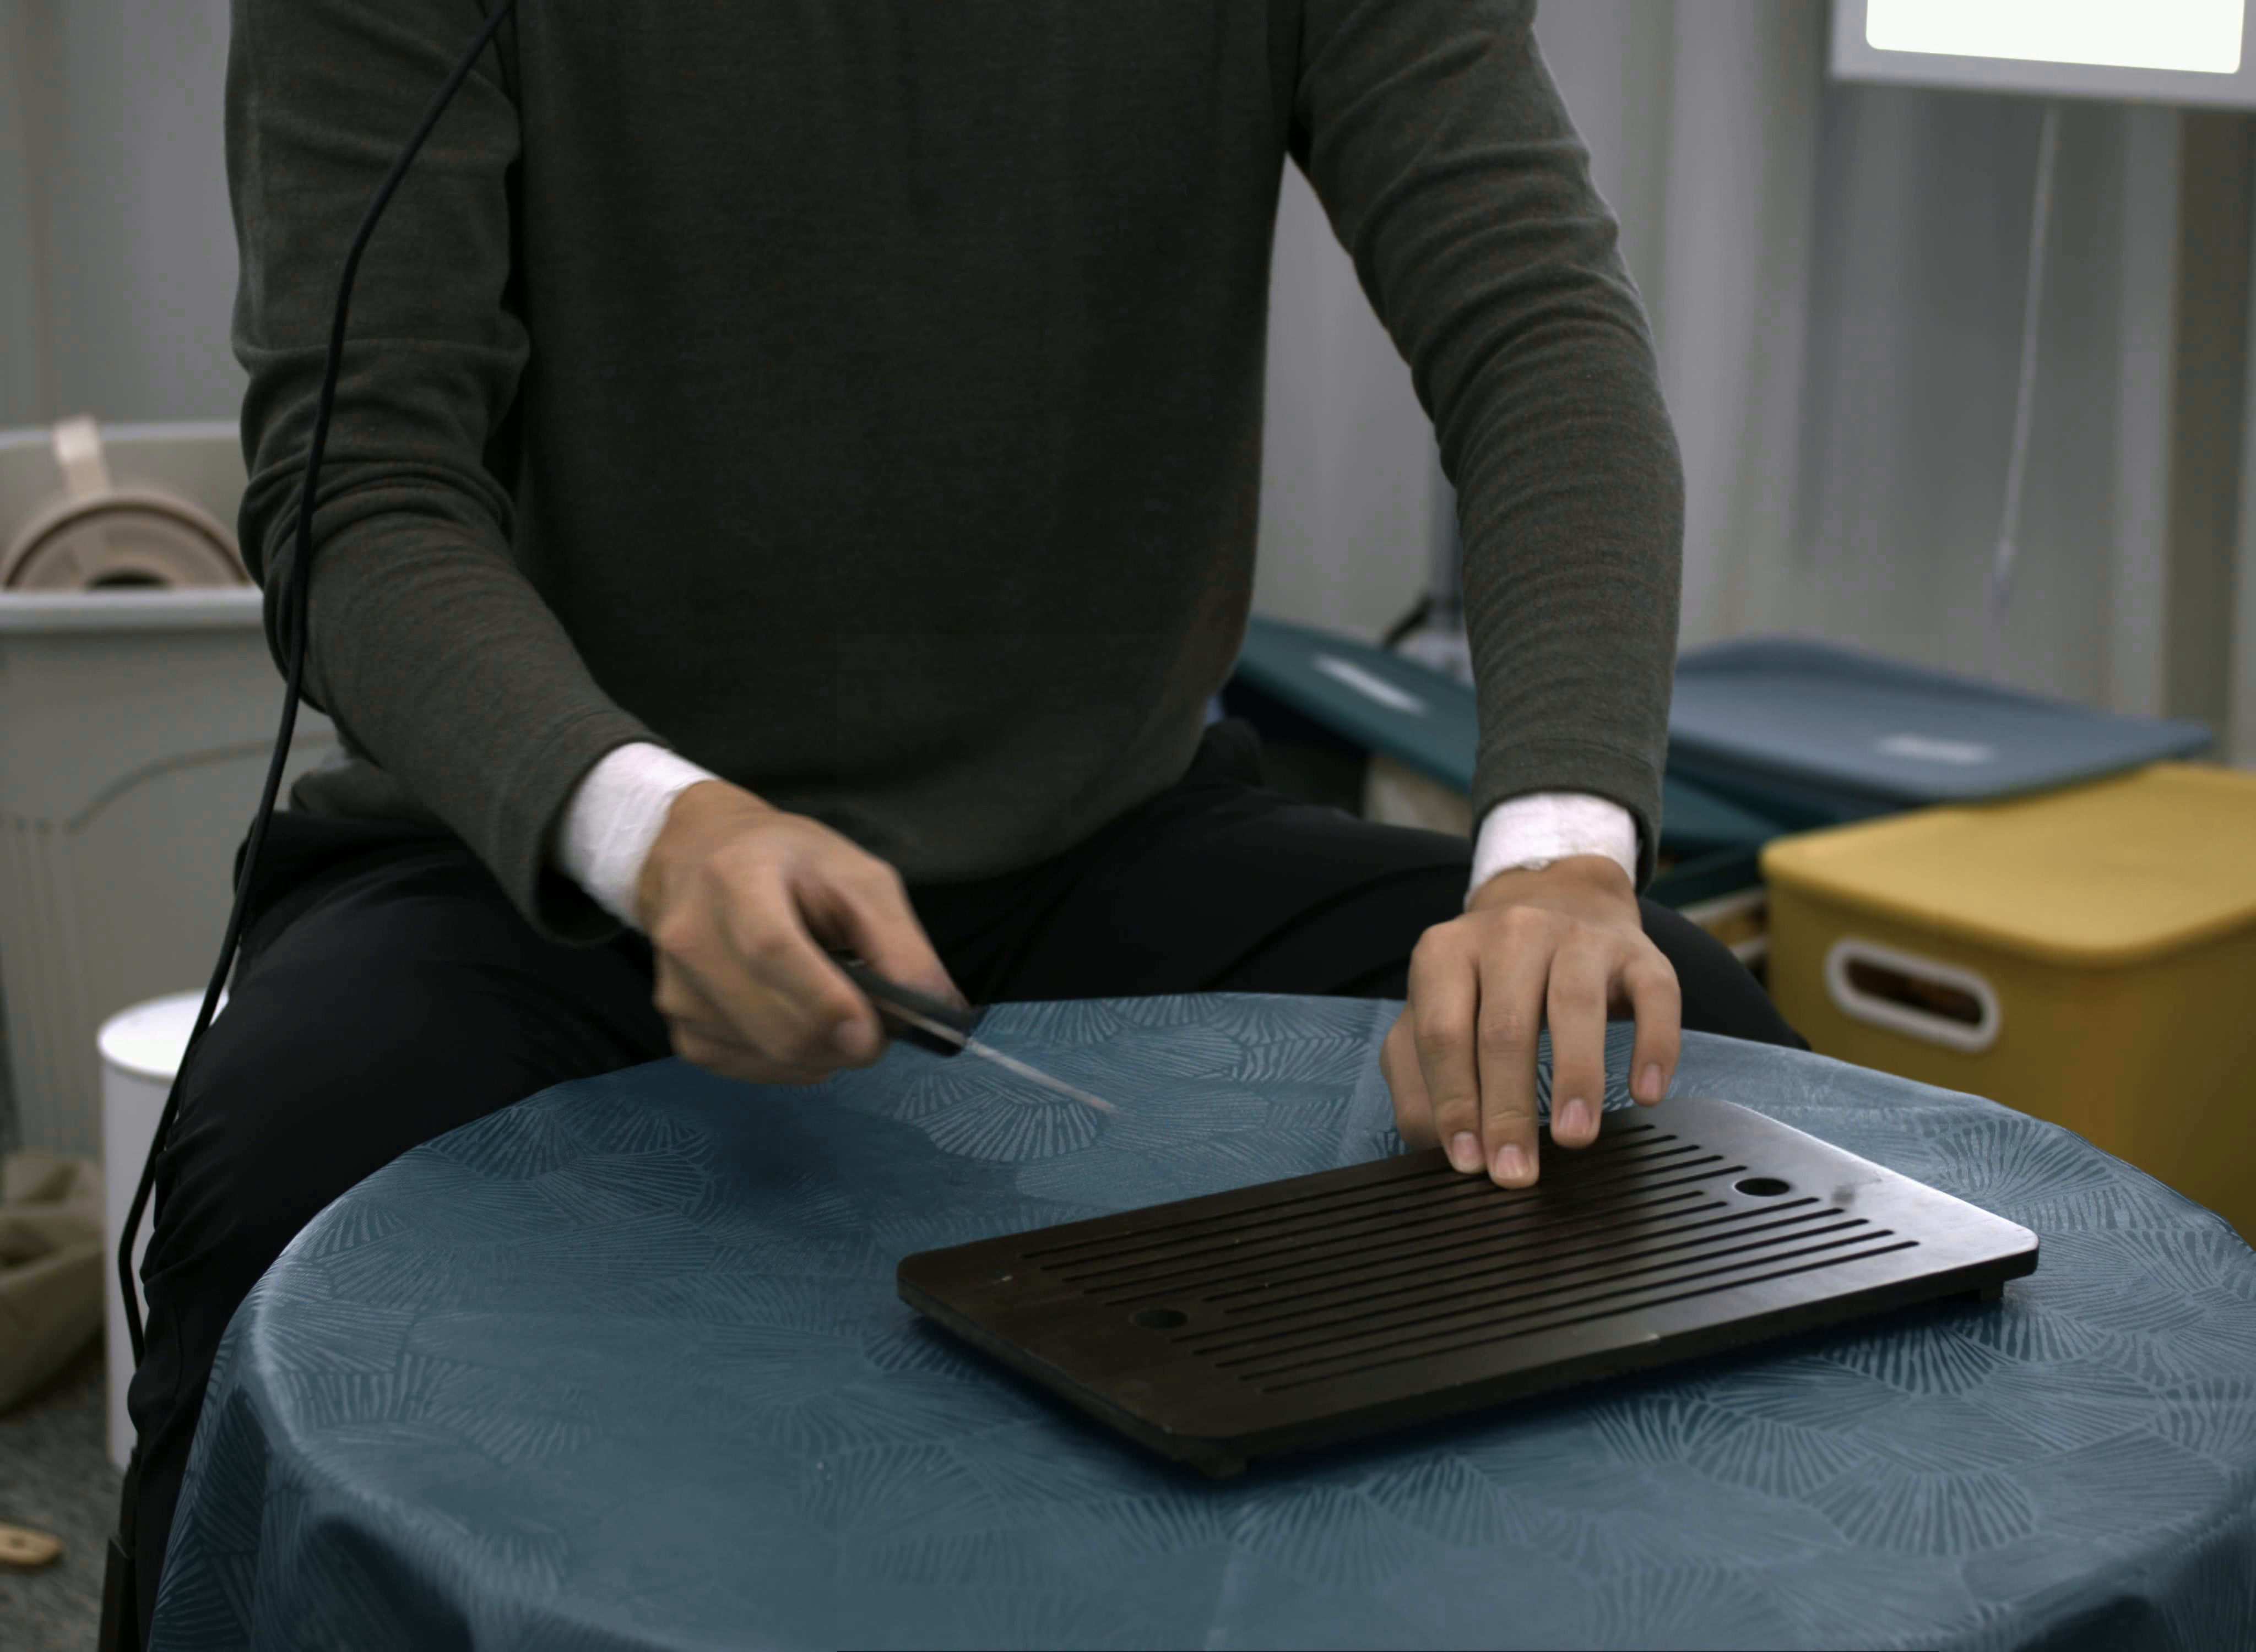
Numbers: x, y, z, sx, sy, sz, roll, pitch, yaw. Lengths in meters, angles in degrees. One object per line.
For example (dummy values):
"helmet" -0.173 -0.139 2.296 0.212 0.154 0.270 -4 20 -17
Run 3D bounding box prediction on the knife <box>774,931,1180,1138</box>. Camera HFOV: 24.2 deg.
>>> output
"knife" -0.048 0.061 1.551 0.025 0.016 0.235 30 -5 -32

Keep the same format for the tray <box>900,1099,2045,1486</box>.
"tray" 0.101 0.132 1.526 0.307 0.019 0.168 -9 17 -32
